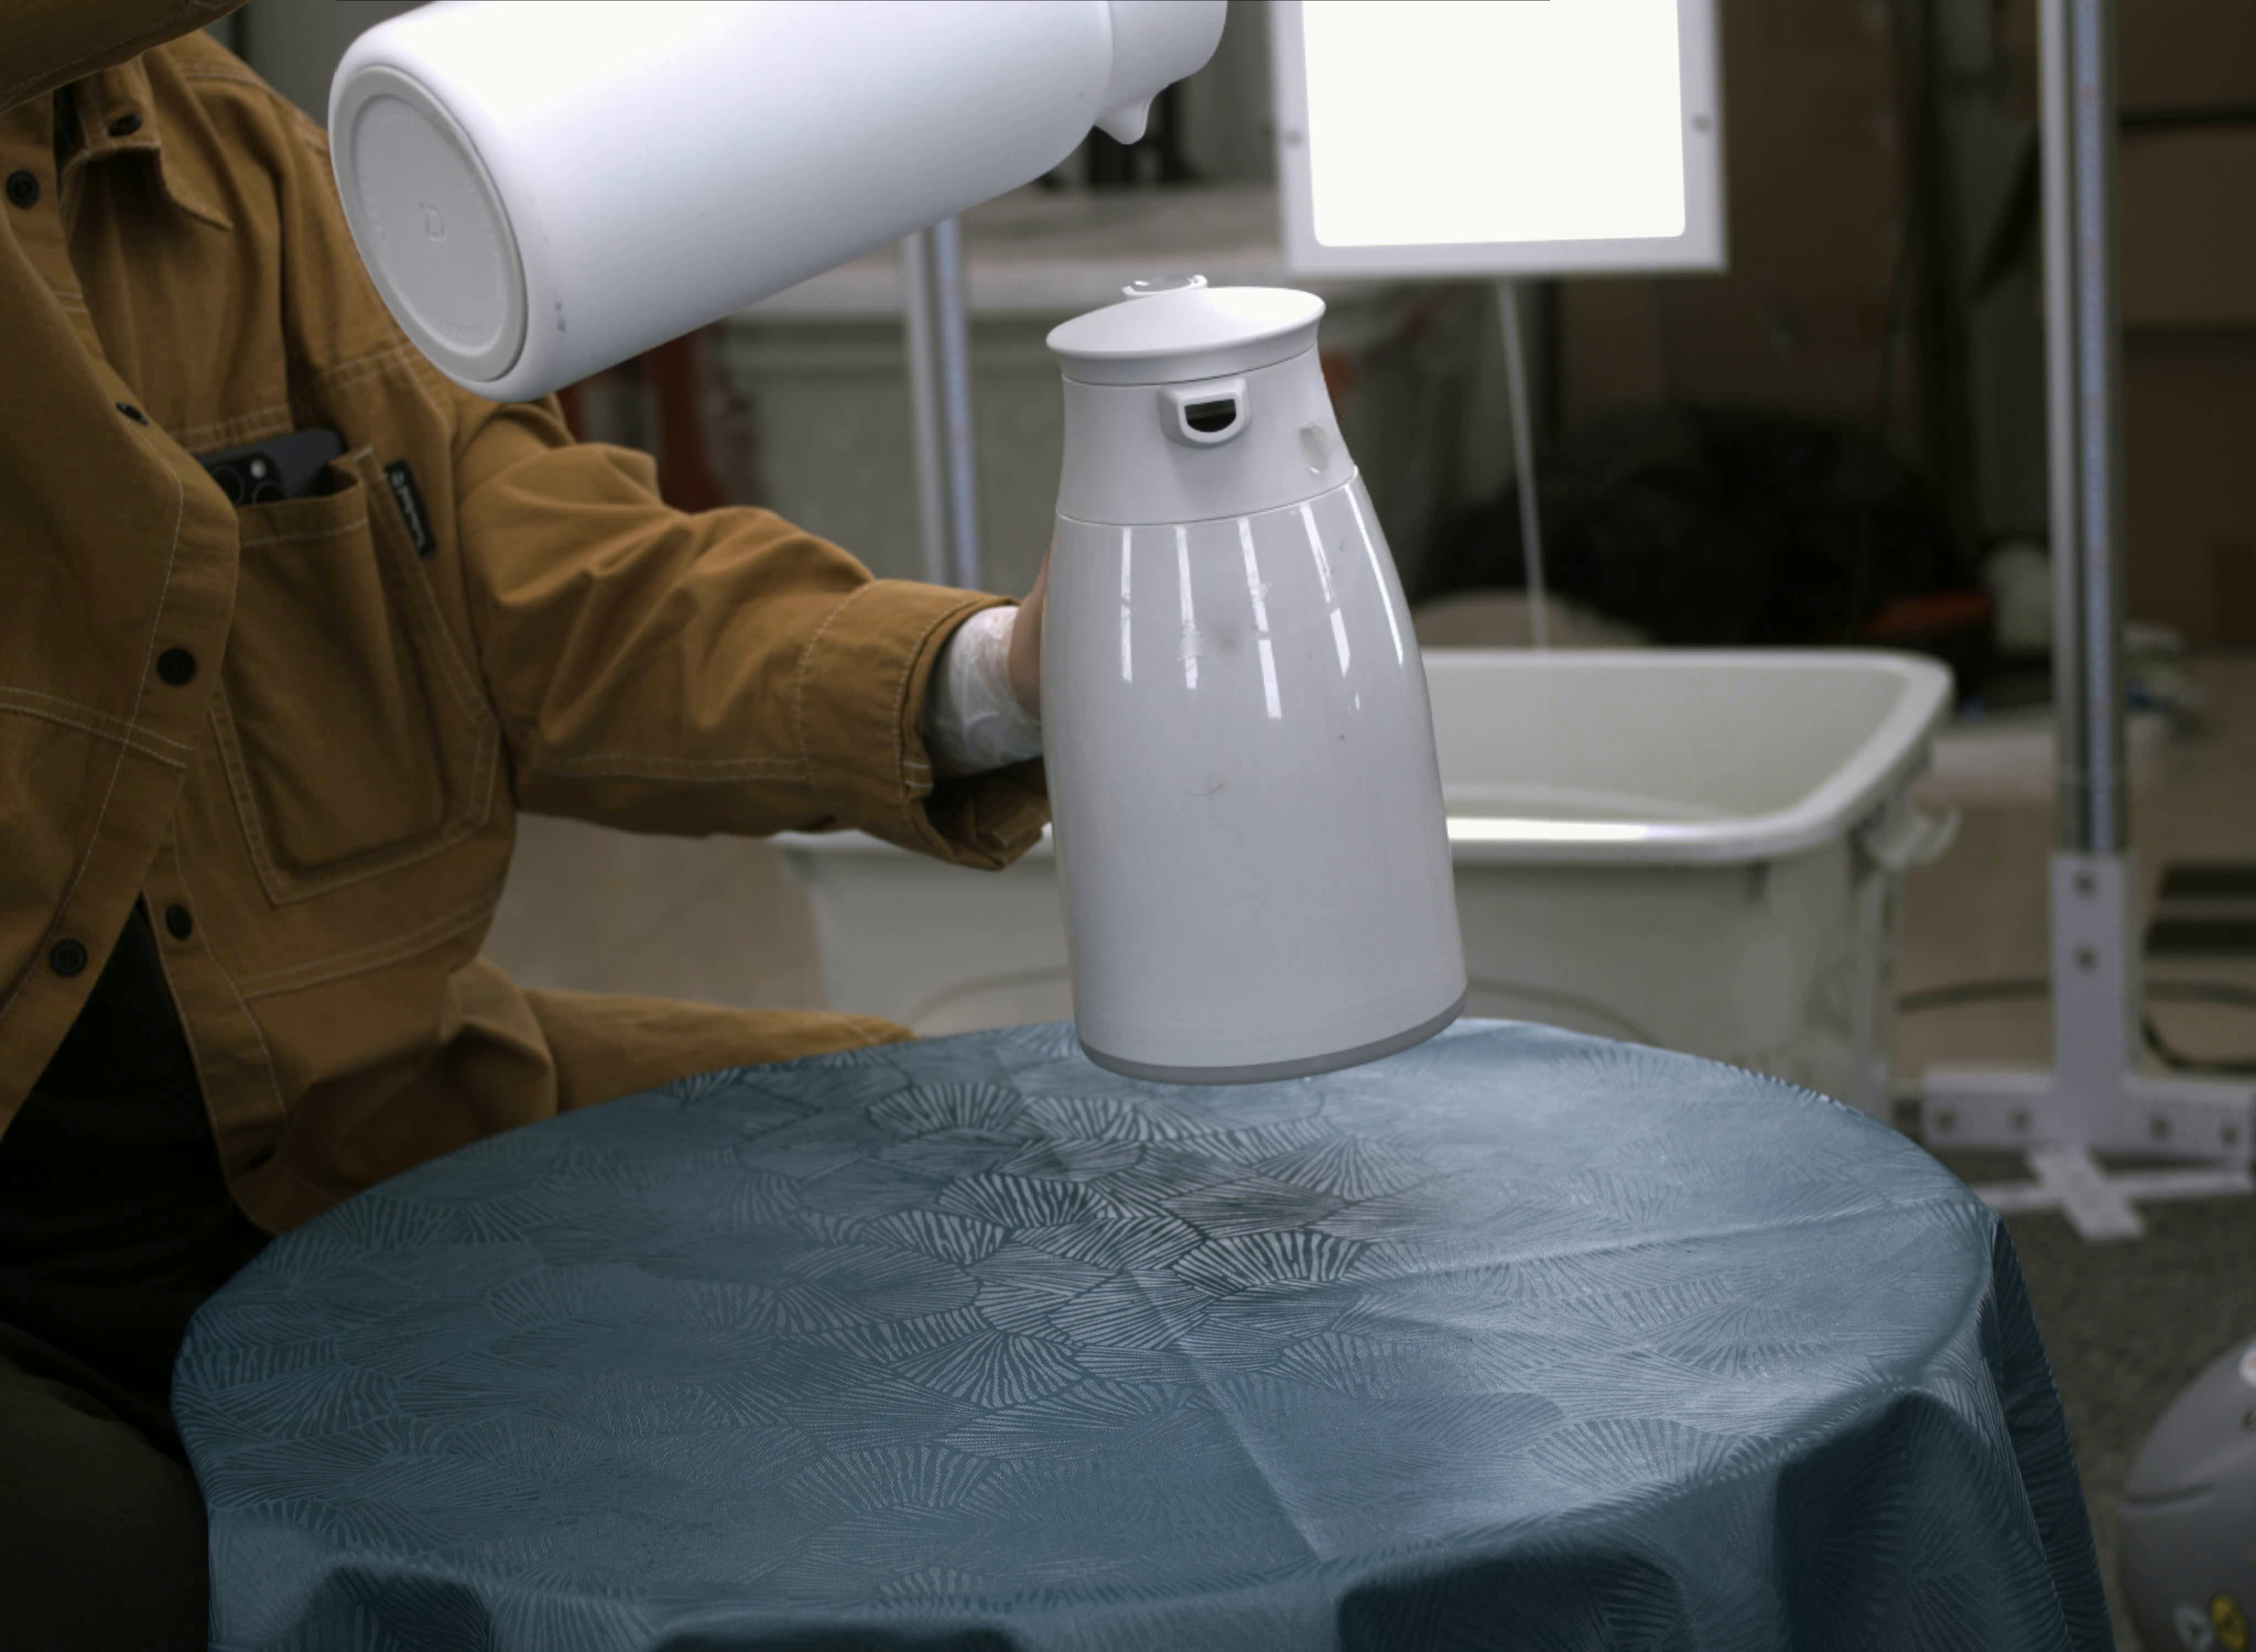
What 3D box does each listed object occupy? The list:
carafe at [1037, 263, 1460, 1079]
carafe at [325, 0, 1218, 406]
[{"bbox_3d":[0.030,-0.059,1.824,0.132,0.249,0.168,-8,15,-2],"label":"carafe"},{"bbox_3d":[-0.103,-0.241,1.647,0.263,0.173,0.126,-27,38,-26],"label":"carafe"}]
